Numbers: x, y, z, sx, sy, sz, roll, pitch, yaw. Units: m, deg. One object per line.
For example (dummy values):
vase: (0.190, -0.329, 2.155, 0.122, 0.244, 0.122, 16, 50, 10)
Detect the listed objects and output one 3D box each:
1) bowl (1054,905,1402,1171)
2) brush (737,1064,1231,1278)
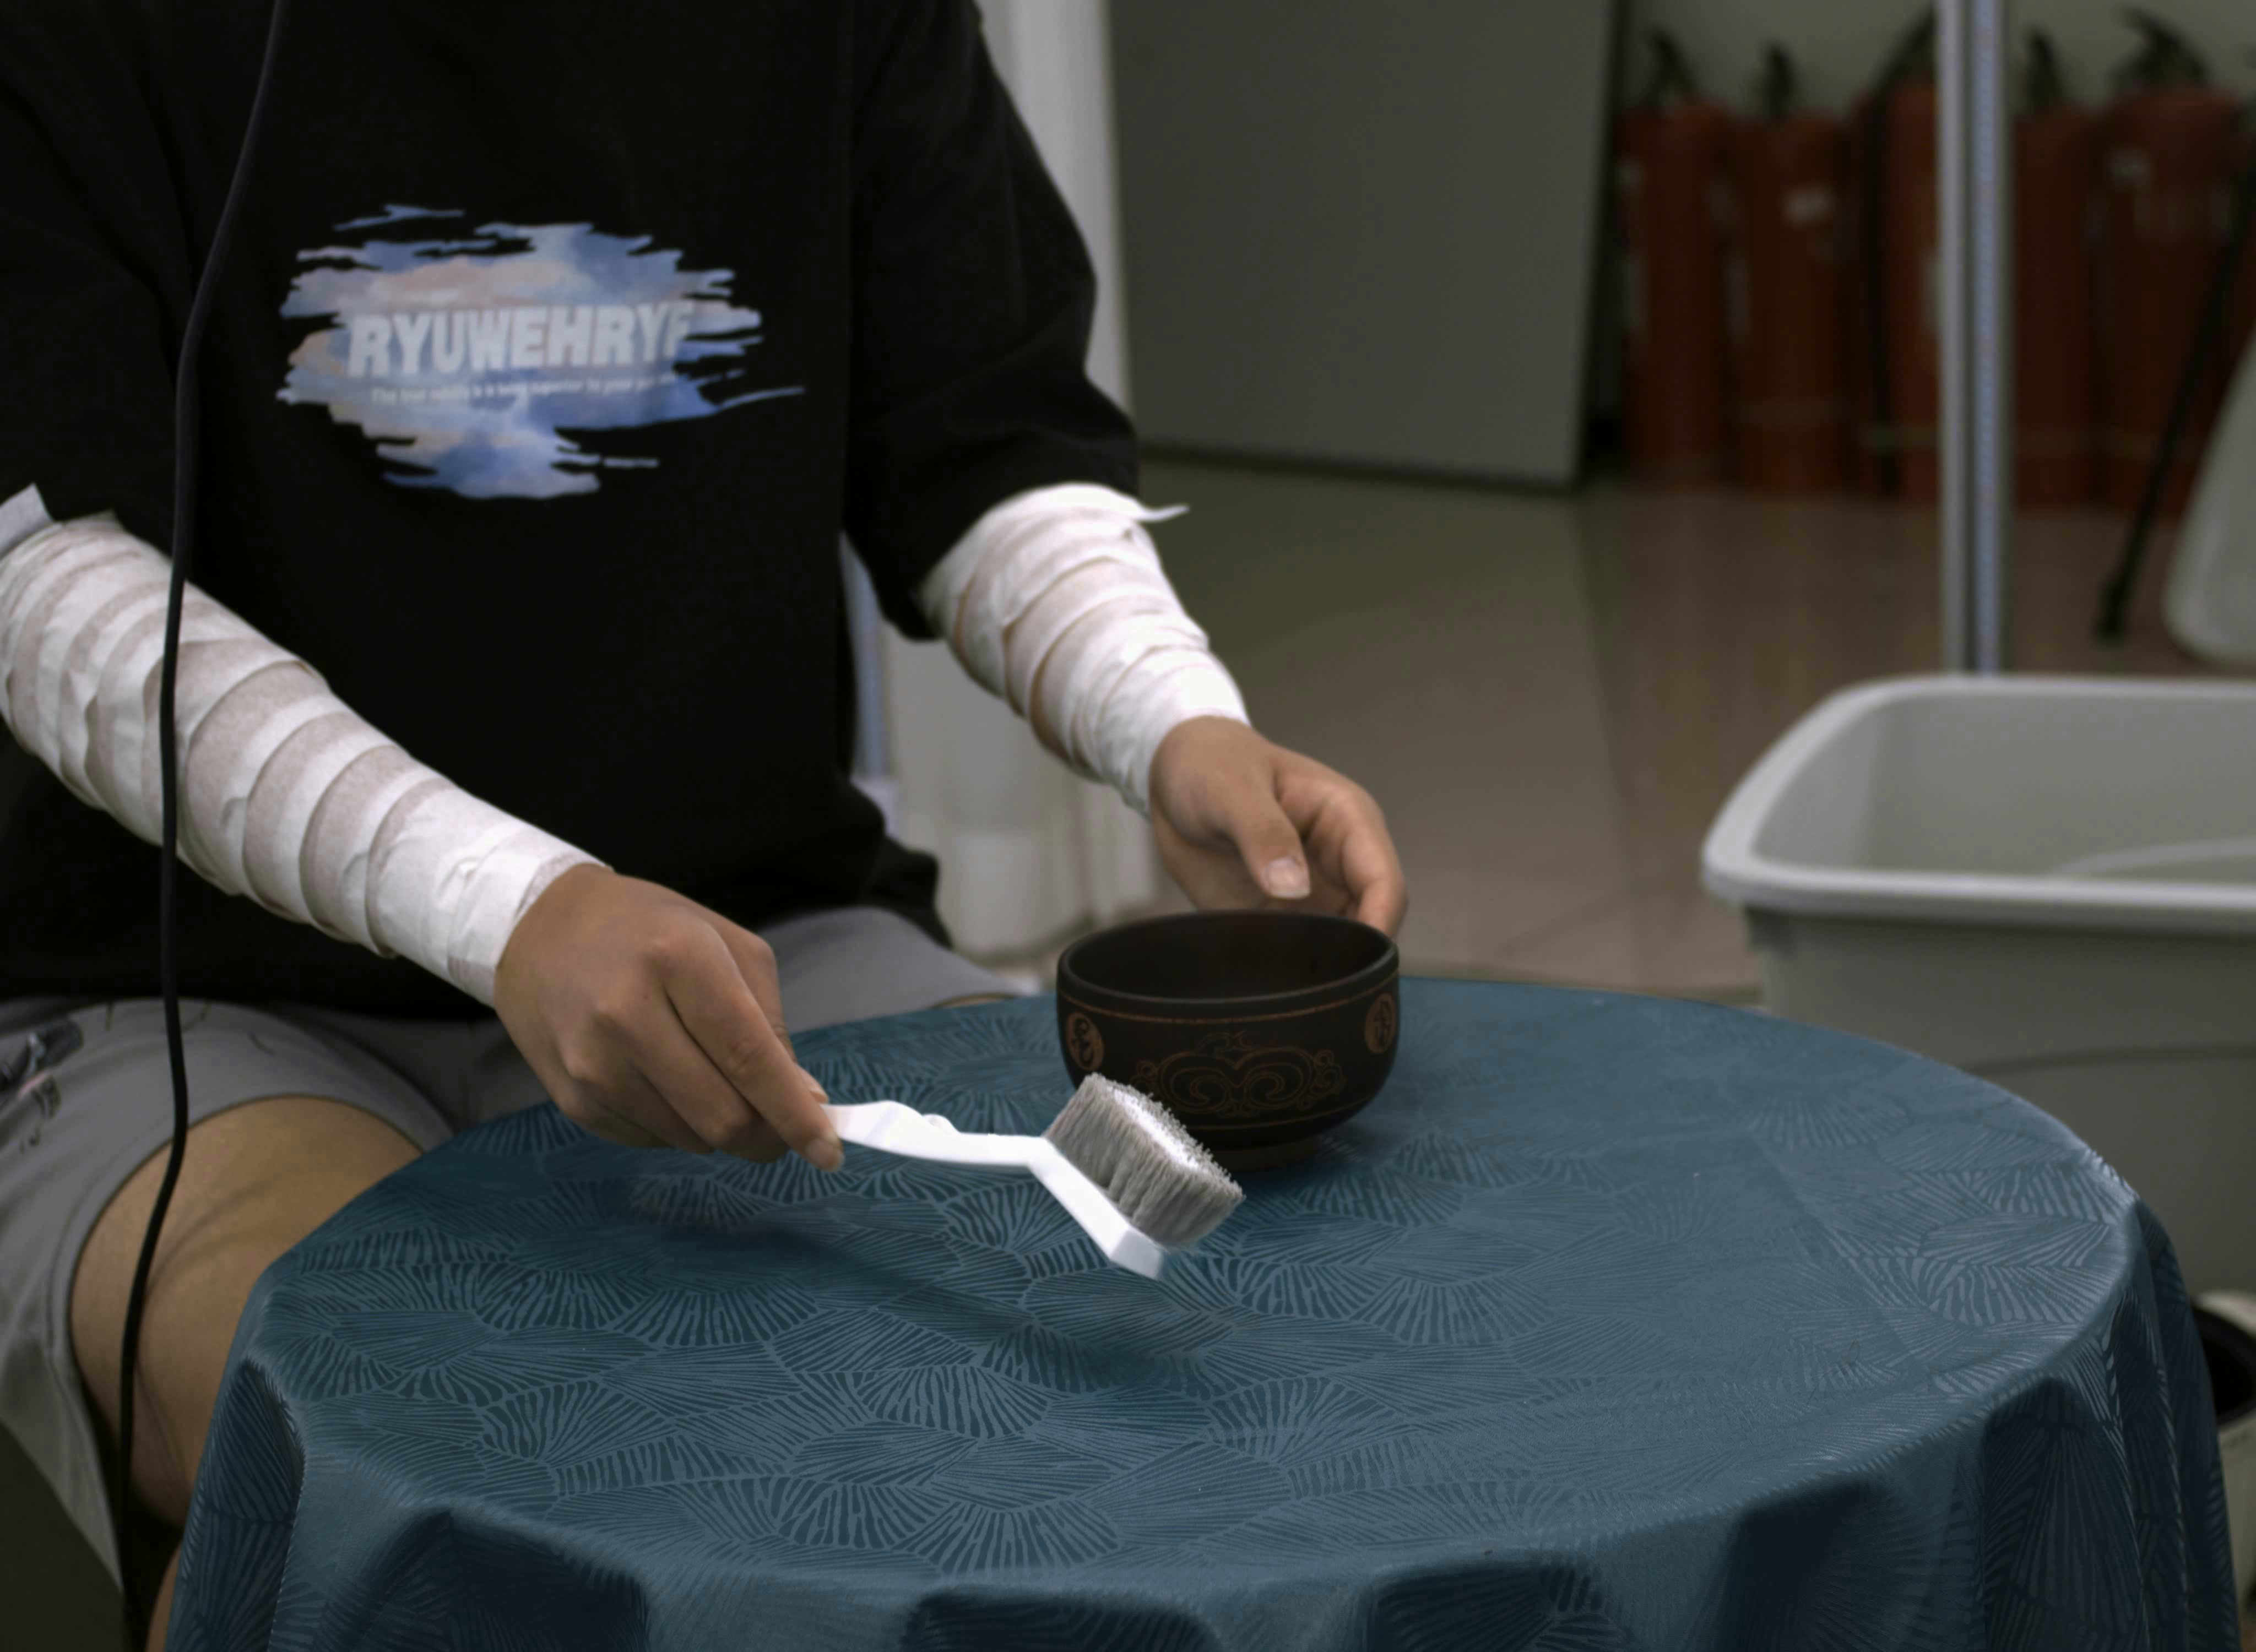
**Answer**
bowl: (0.035, 0.074, 1.802, 0.116, 0.070, 0.118, -6, 13, 0)
brush: (-0.049, 0.088, 1.687, 0.033, 0.051, 0.246, 20, -1, -36)
